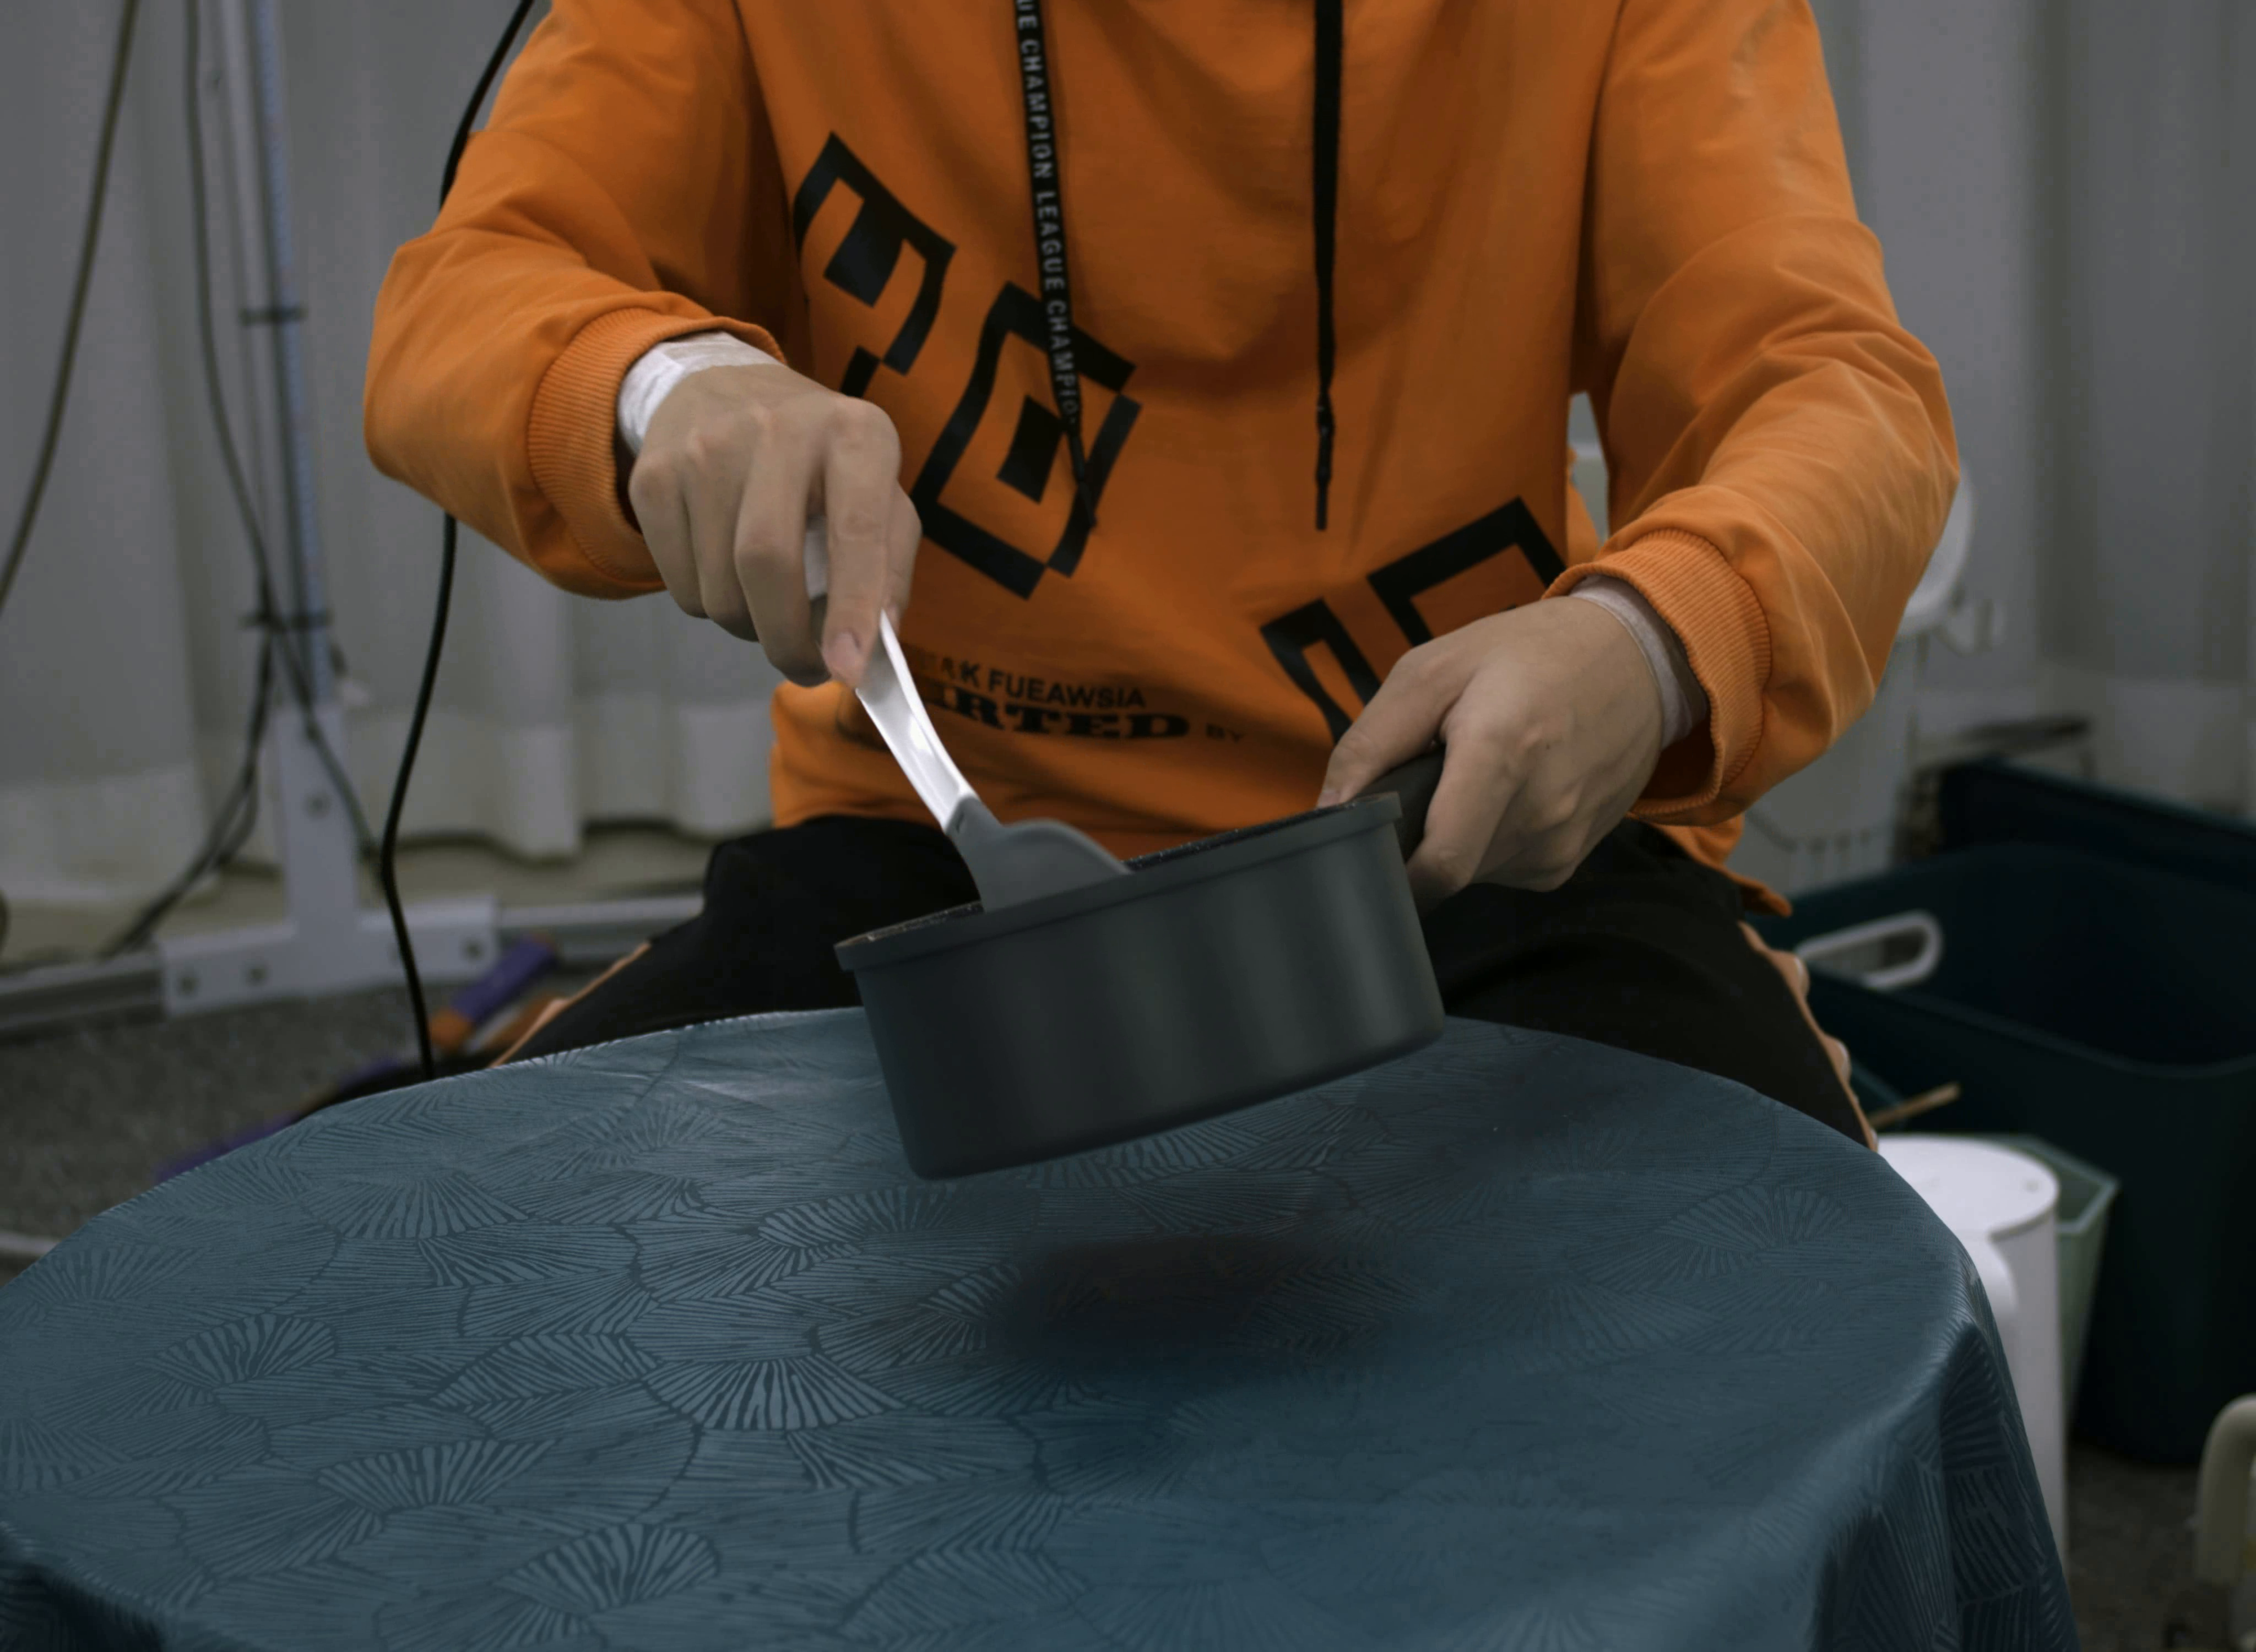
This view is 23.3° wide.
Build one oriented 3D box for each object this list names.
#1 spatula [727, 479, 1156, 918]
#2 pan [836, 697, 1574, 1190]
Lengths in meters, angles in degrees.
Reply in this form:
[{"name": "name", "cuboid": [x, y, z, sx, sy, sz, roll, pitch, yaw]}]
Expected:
[{"name": "spatula", "cuboid": [-0.054, -0.024, 1.664, 0.032, 0.058, 0.291, 23, 18, -39]}, {"name": "pan", "cuboid": [0.050, 0.032, 1.658, 0.172, 0.086, 0.328, -13, 3, 36]}]
